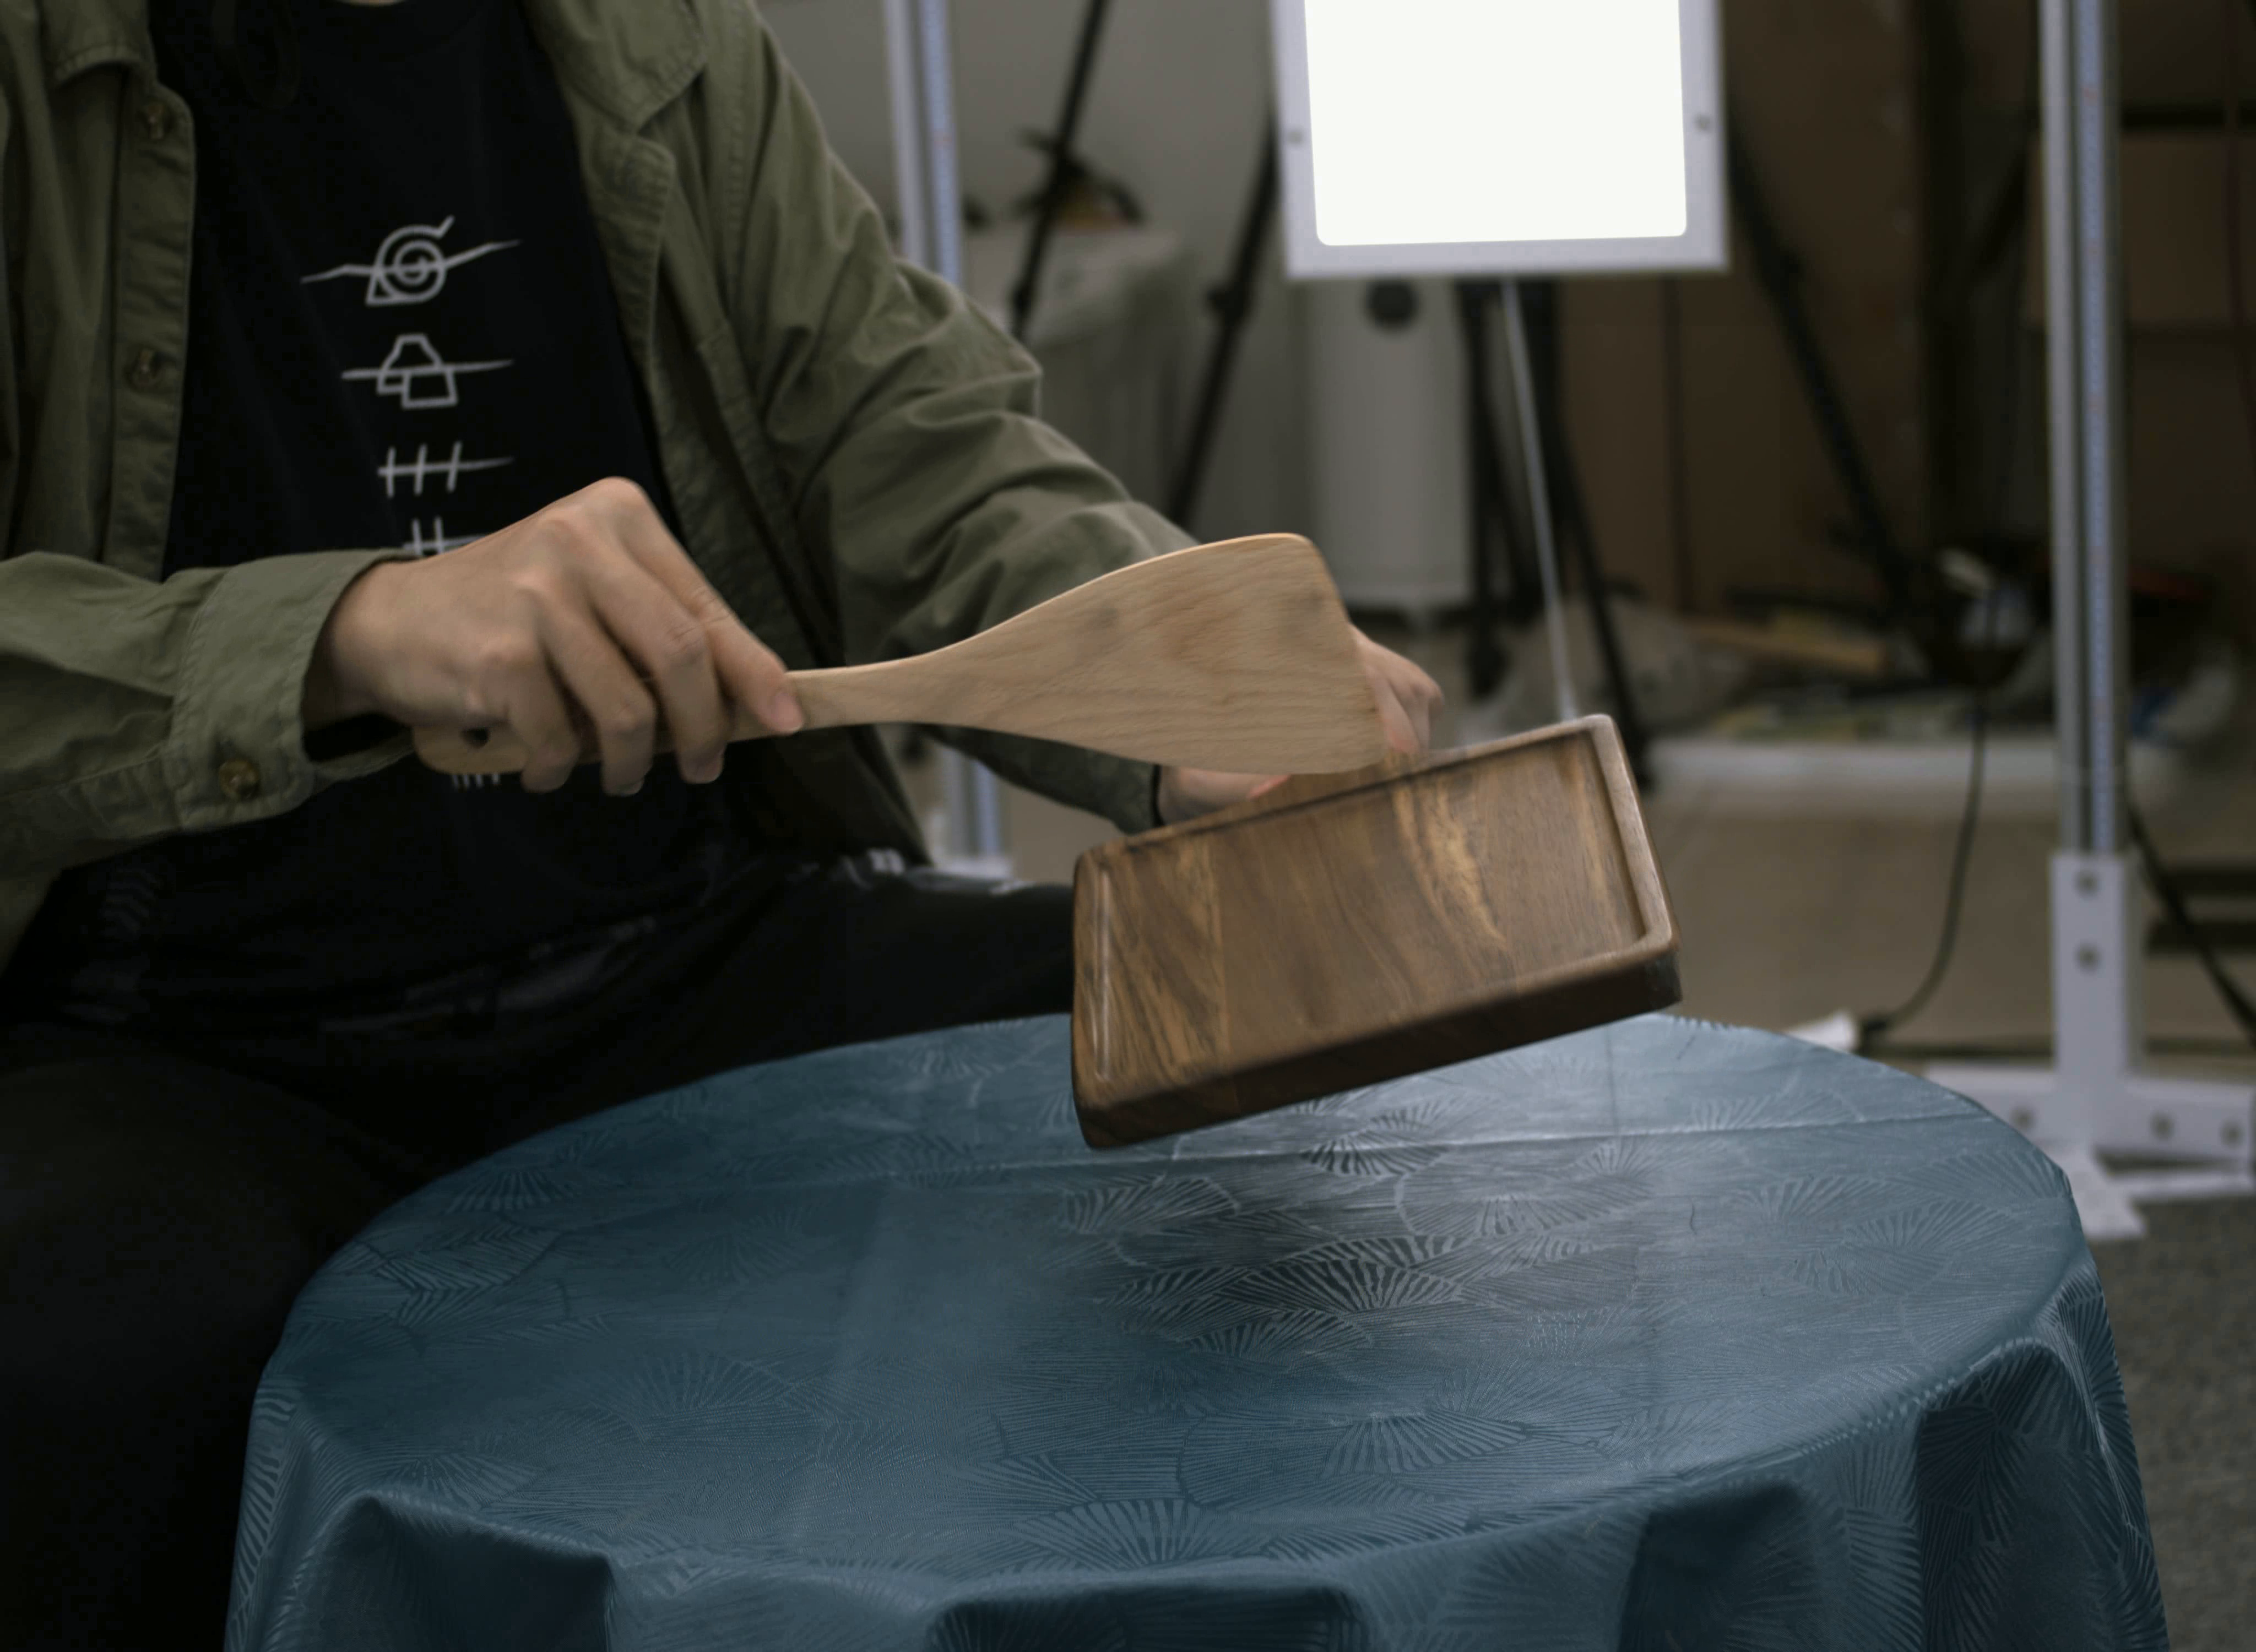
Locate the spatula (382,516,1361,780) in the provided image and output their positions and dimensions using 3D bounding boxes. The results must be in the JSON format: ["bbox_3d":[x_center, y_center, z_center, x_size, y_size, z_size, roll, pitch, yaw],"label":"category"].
[{"bbox_3d":[-0.088,-0.044,1.743,0.331,0.080,0.016,-6,19,19],"label":"spatula"}]

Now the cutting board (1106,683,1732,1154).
[{"bbox_3d":[0.091,0.014,1.850,0.202,0.023,0.350,-16,18,7],"label":"cutting board"}]
